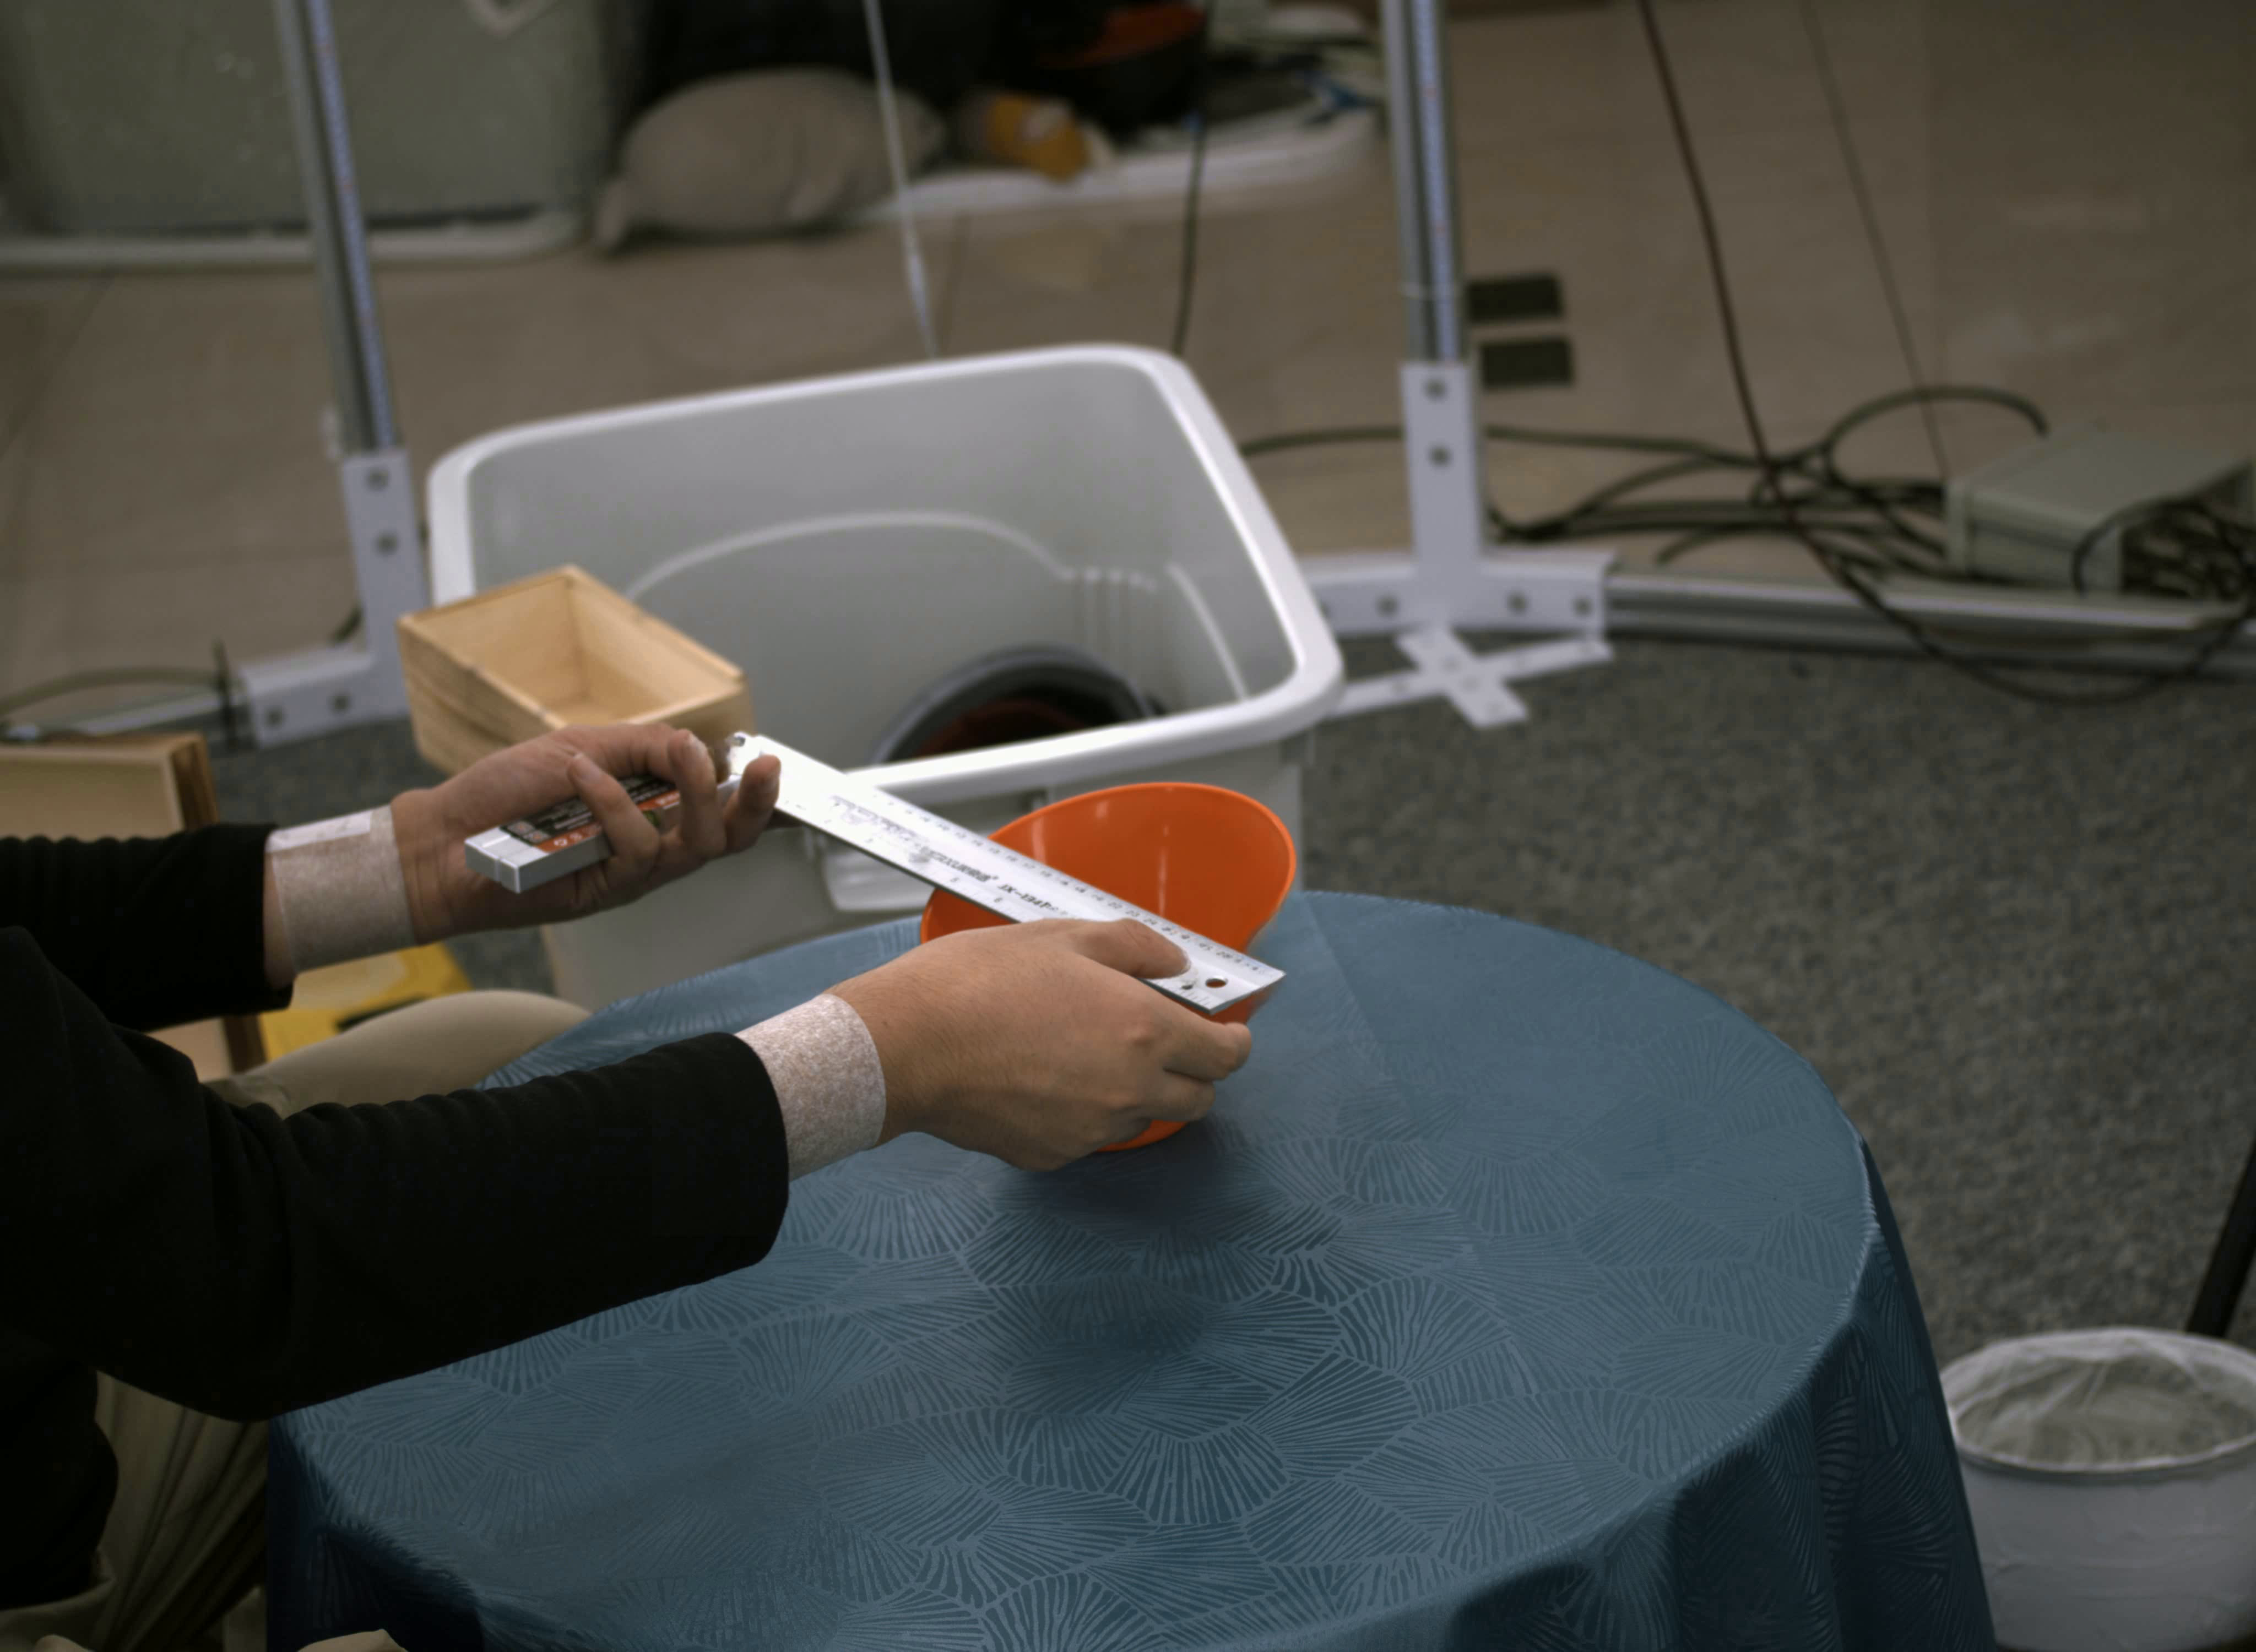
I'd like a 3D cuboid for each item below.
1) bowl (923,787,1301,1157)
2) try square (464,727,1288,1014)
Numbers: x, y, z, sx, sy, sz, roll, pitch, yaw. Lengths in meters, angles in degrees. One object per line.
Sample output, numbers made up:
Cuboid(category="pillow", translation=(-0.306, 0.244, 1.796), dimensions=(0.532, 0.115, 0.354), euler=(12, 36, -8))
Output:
Cuboid(category="bowl", translation=(-0.002, 0.063, 2.192), dimensions=(0.148, 0.106, 0.146), euler=(-5, 27, 3))
Cuboid(category="try square", translation=(-0.101, 0.034, 2.160), dimensions=(0.151, 0.016, 0.310), euler=(-27, 35, -35))
